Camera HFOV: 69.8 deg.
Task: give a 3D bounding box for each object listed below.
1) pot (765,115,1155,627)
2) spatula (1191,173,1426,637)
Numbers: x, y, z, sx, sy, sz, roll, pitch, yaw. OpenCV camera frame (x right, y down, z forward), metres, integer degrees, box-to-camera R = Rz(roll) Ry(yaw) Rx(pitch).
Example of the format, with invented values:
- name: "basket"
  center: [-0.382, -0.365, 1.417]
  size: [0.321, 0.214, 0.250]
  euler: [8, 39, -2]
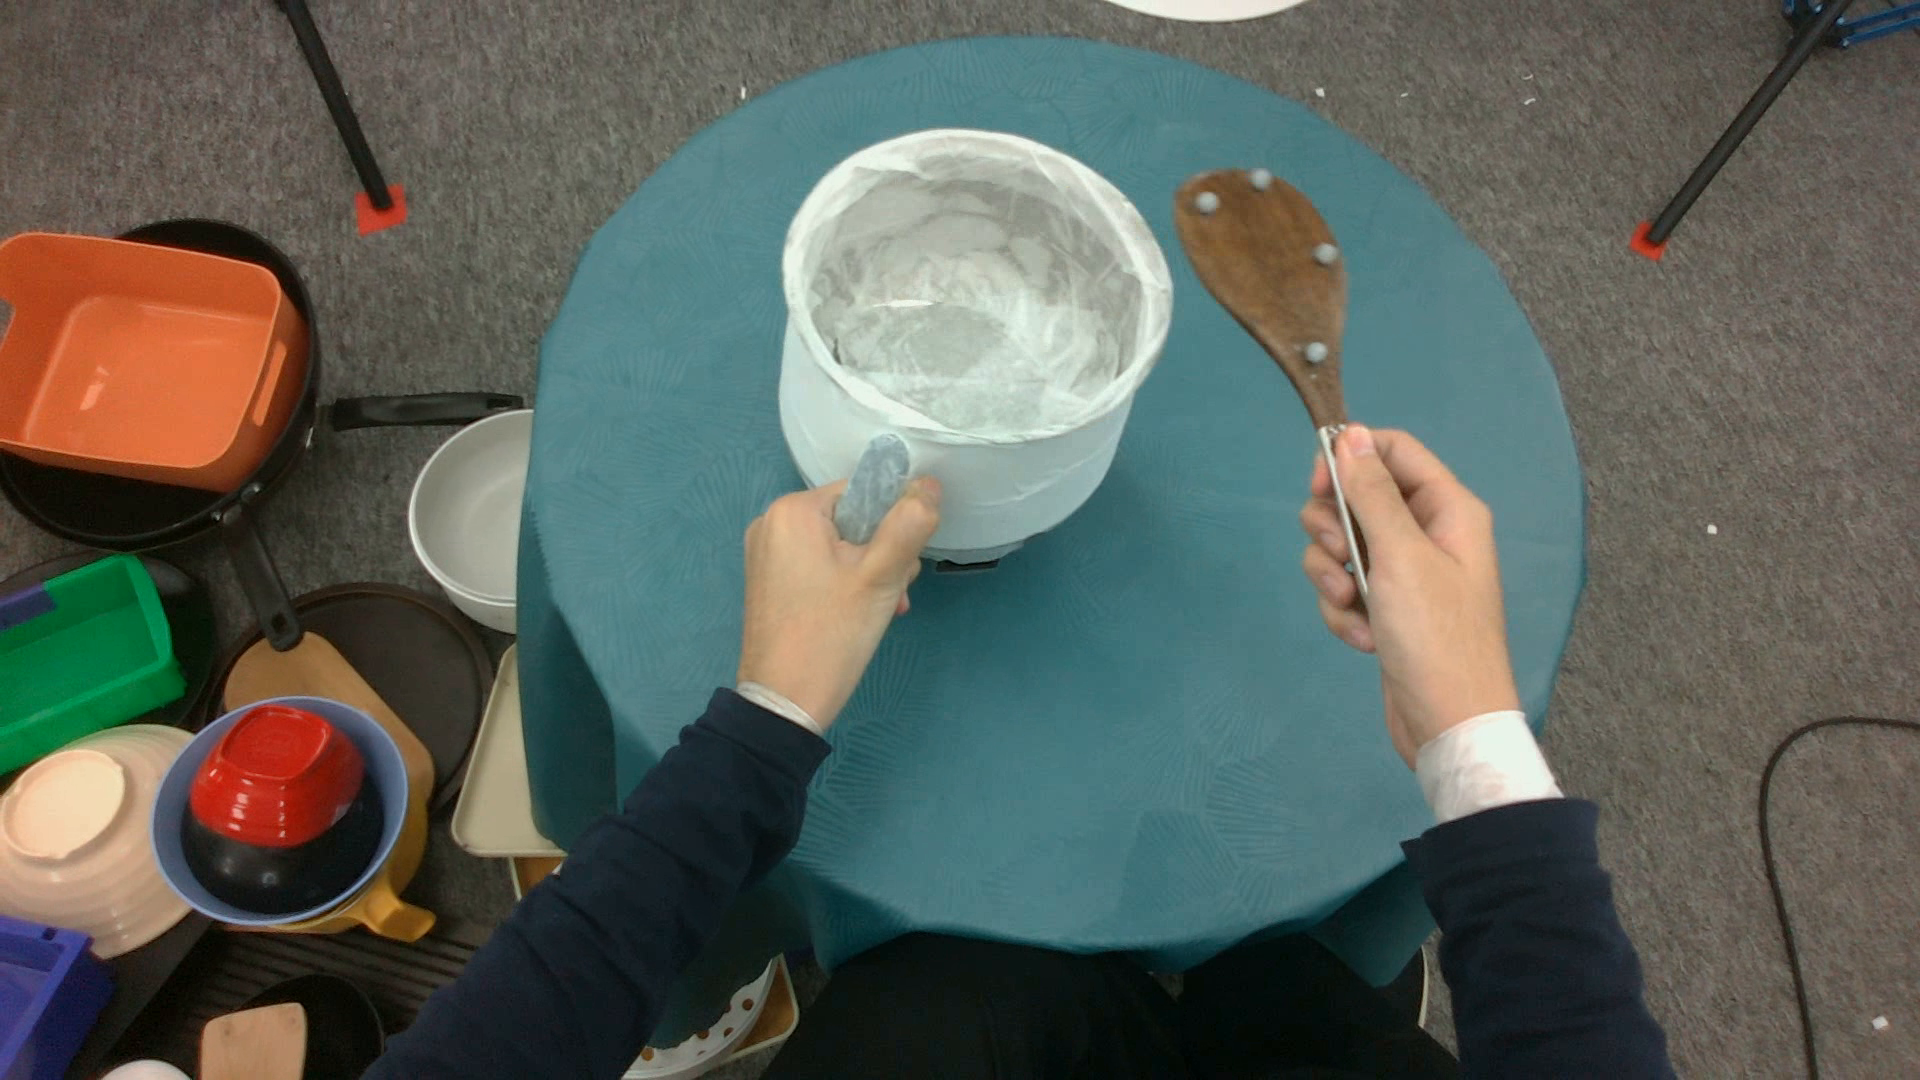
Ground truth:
- name: "pot"
  center: [-0.014, -0.075, 0.661]
  size: [0.178, 0.136, 0.235]
  euler: [19, 59, 5]
- name: "spatula"
  center: [0.147, -0.061, 0.566]
  size: [0.072, 0.009, 0.216]
  euler: [-7, 71, -21]
